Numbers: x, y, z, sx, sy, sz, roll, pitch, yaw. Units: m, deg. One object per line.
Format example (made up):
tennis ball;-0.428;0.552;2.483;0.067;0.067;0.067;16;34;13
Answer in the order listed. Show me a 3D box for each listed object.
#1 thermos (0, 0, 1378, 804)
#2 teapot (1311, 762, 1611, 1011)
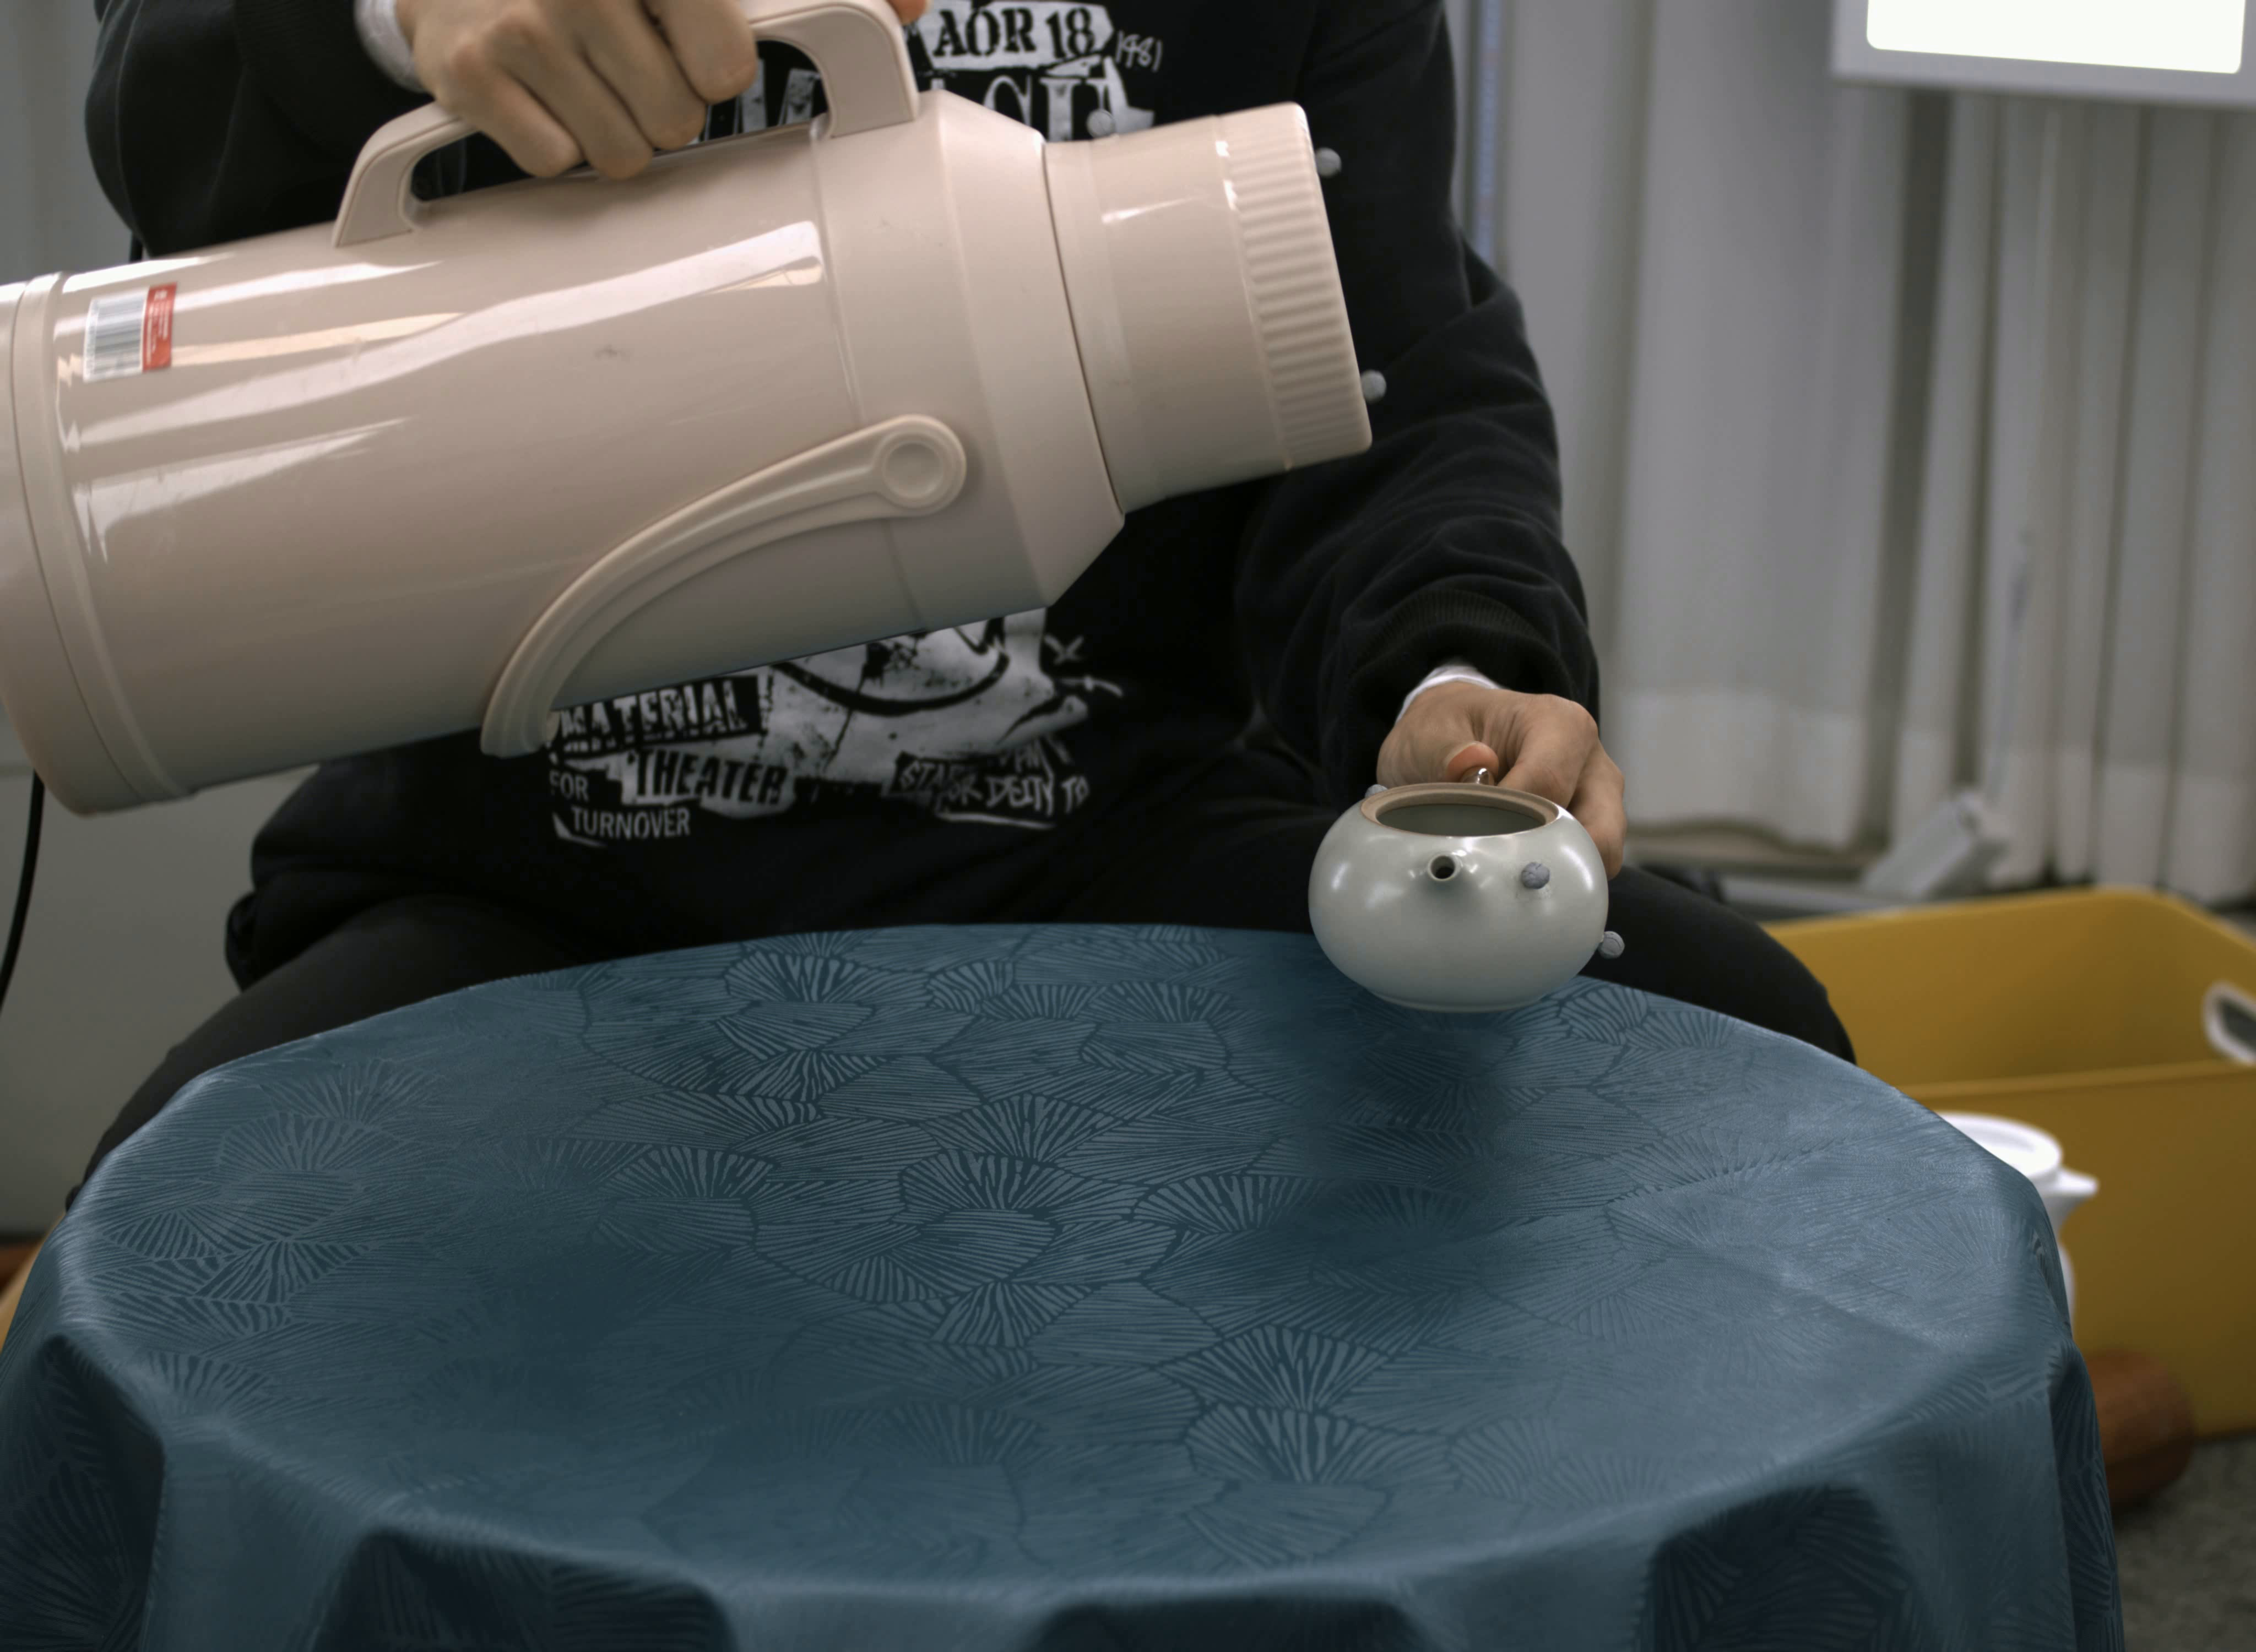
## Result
thermos;-0.136;-0.136;1.545;0.404;0.209;0.174;-11;26;4
teapot;0.103;0.018;1.618;0.091;0.060;0.127;0;16;7
